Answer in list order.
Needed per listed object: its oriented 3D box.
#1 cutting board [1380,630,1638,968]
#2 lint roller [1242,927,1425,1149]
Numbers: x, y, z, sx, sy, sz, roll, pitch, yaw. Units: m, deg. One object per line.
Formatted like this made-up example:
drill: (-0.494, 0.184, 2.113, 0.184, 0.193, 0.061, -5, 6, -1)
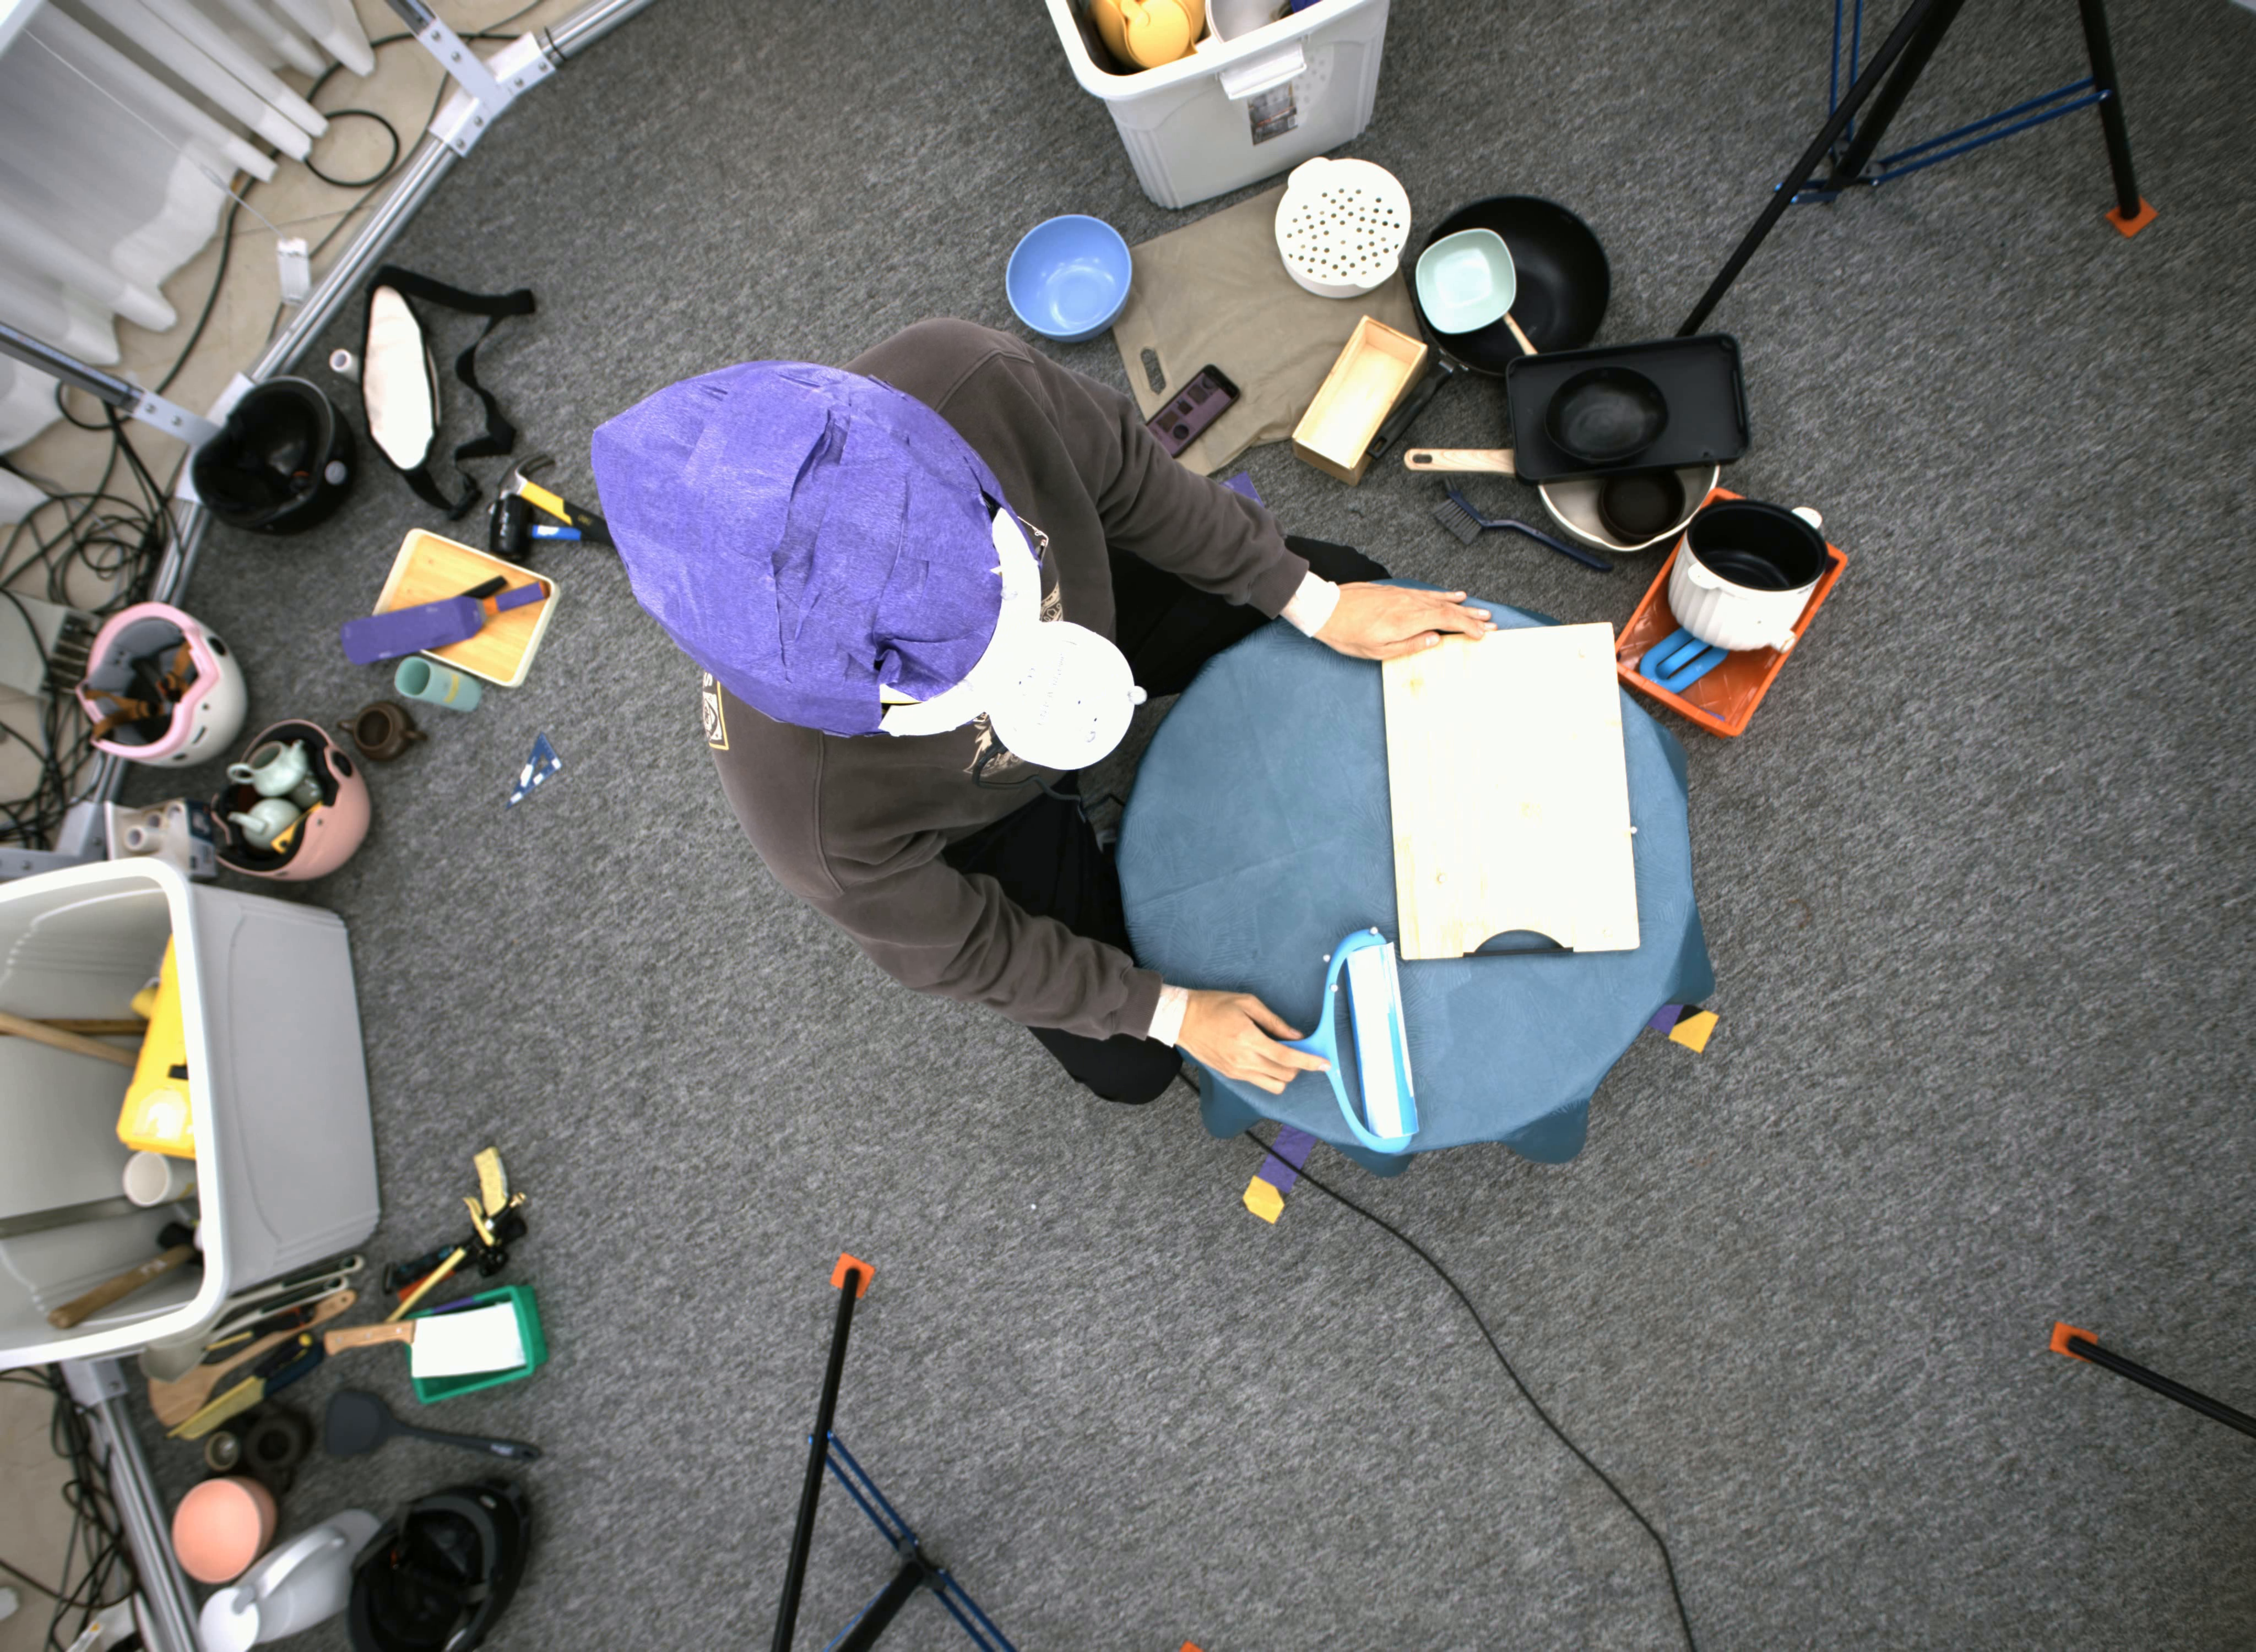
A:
cutting board: (0.394, -0.033, 1.431, 0.252, 0.023, 0.347, -4, 86, 11)
lint roller: (0.205, 0.228, 1.433, 0.181, 0.068, 0.228, -12, 86, 9)
